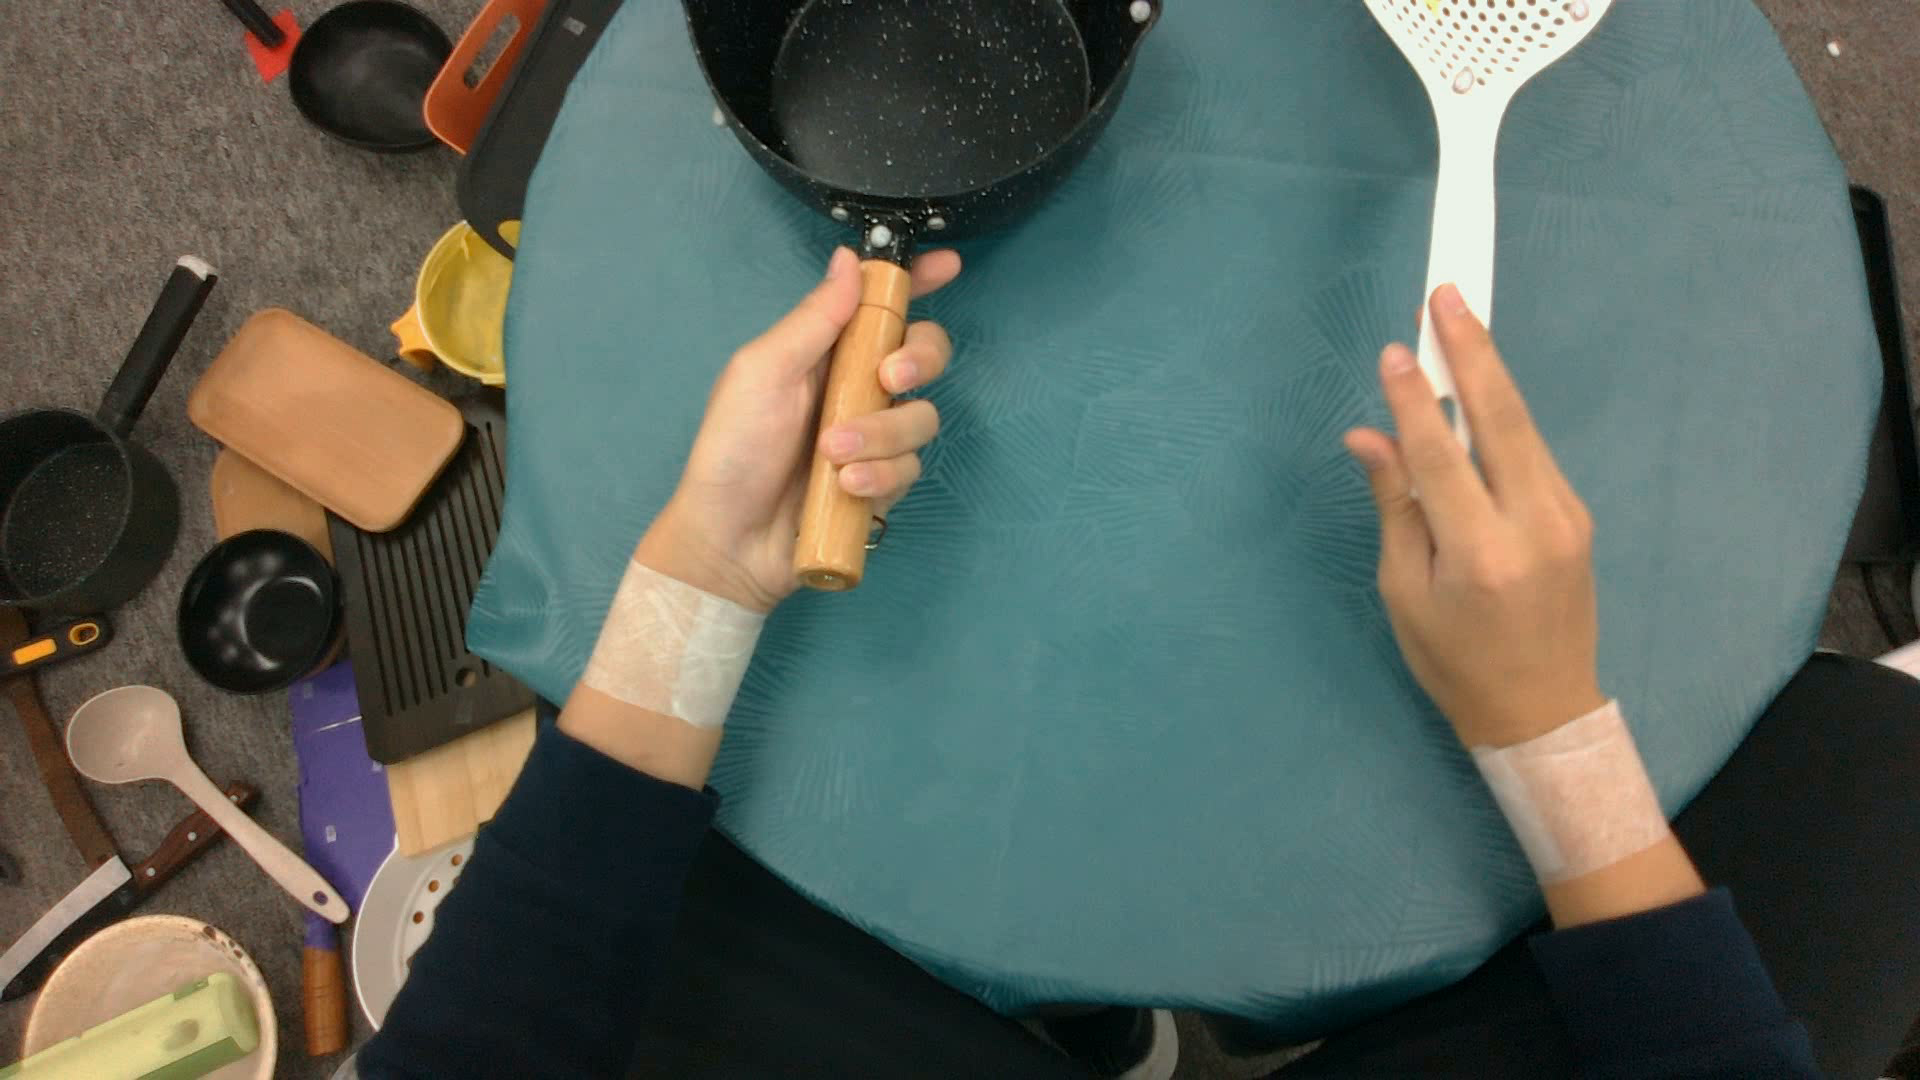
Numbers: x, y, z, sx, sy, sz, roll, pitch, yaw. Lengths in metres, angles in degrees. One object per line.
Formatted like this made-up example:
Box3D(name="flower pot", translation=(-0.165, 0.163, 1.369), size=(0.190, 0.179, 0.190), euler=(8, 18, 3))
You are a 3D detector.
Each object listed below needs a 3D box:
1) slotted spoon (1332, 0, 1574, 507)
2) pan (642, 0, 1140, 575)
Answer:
Box3D(name="slotted spoon", translation=(0.192, -0.178, 0.564), size=(0.137, 0.050, 0.349), euler=(11, 64, -3))
Box3D(name="pan", translation=(-0.036, -0.147, 0.568), size=(0.207, 0.108, 0.343), euler=(4, 79, 3))
